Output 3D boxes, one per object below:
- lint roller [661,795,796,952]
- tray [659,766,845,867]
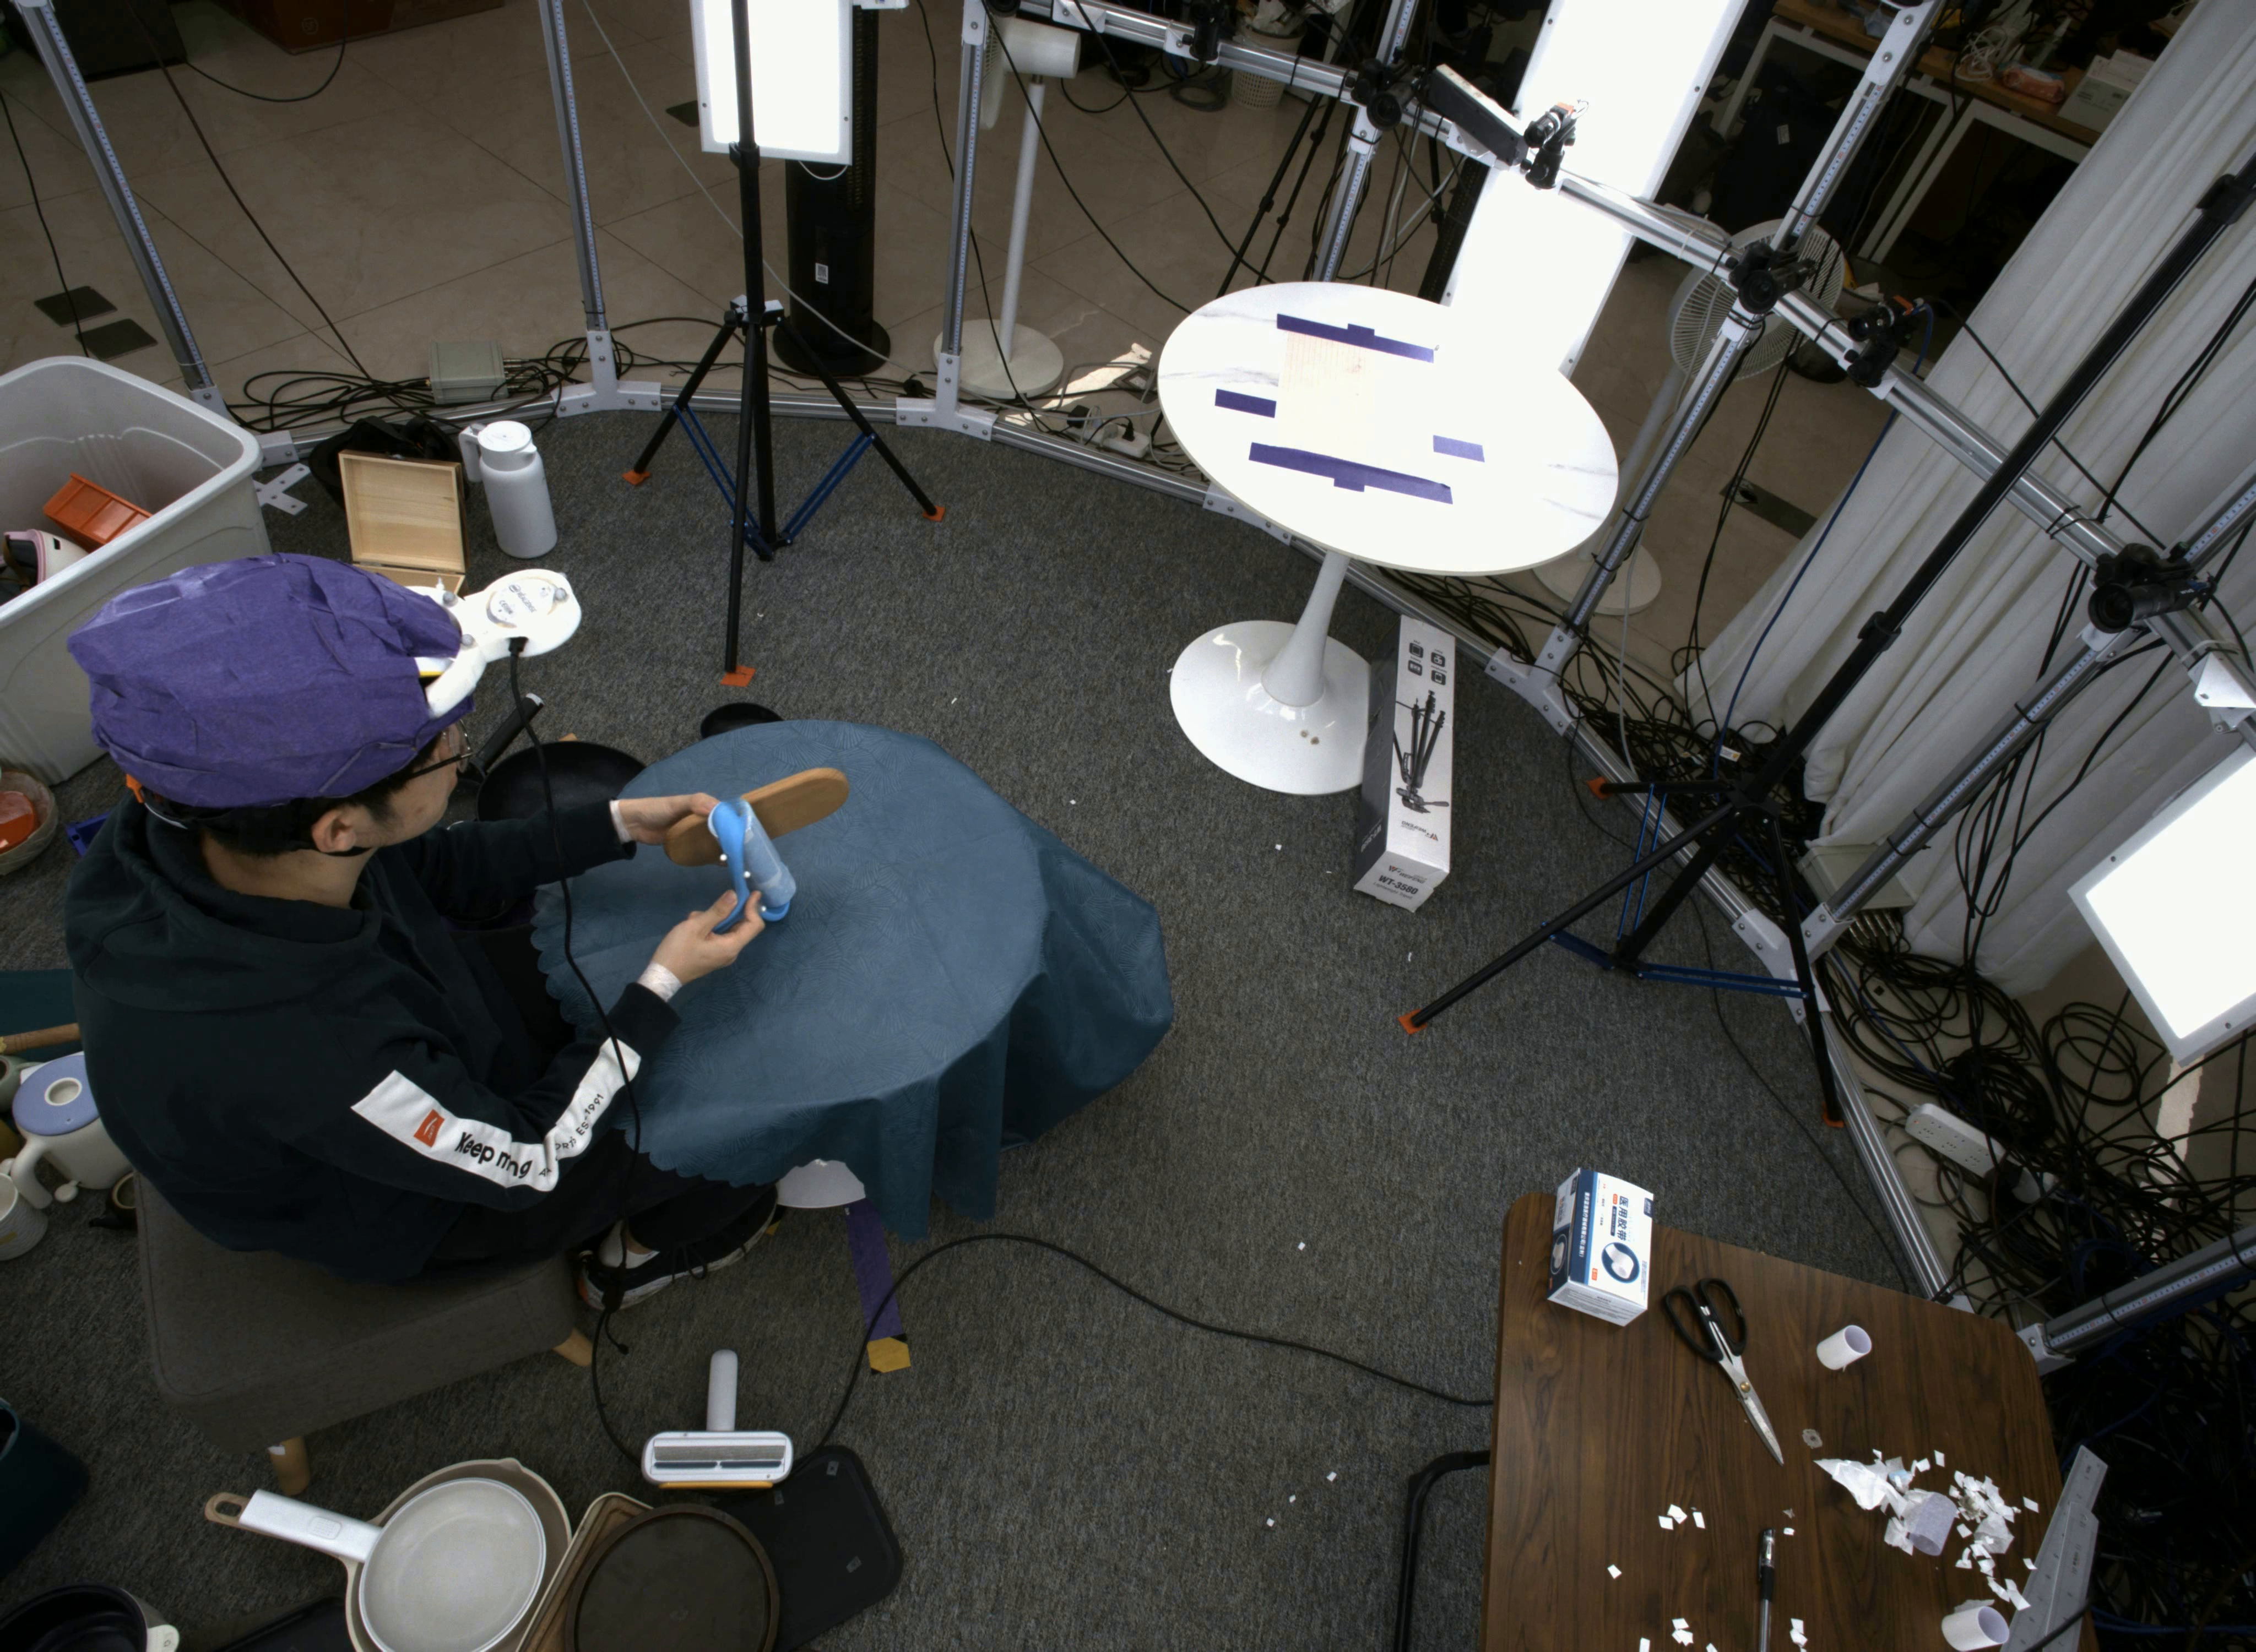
[{"bbox_3d":[-0.477,0.081,1.533,0.066,0.234,0.180,25,69,12],"label":"lint roller"},{"bbox_3d":[-0.449,-0.011,1.553,0.231,0.104,0.020,-24,63,-18],"label":"tray"}]
